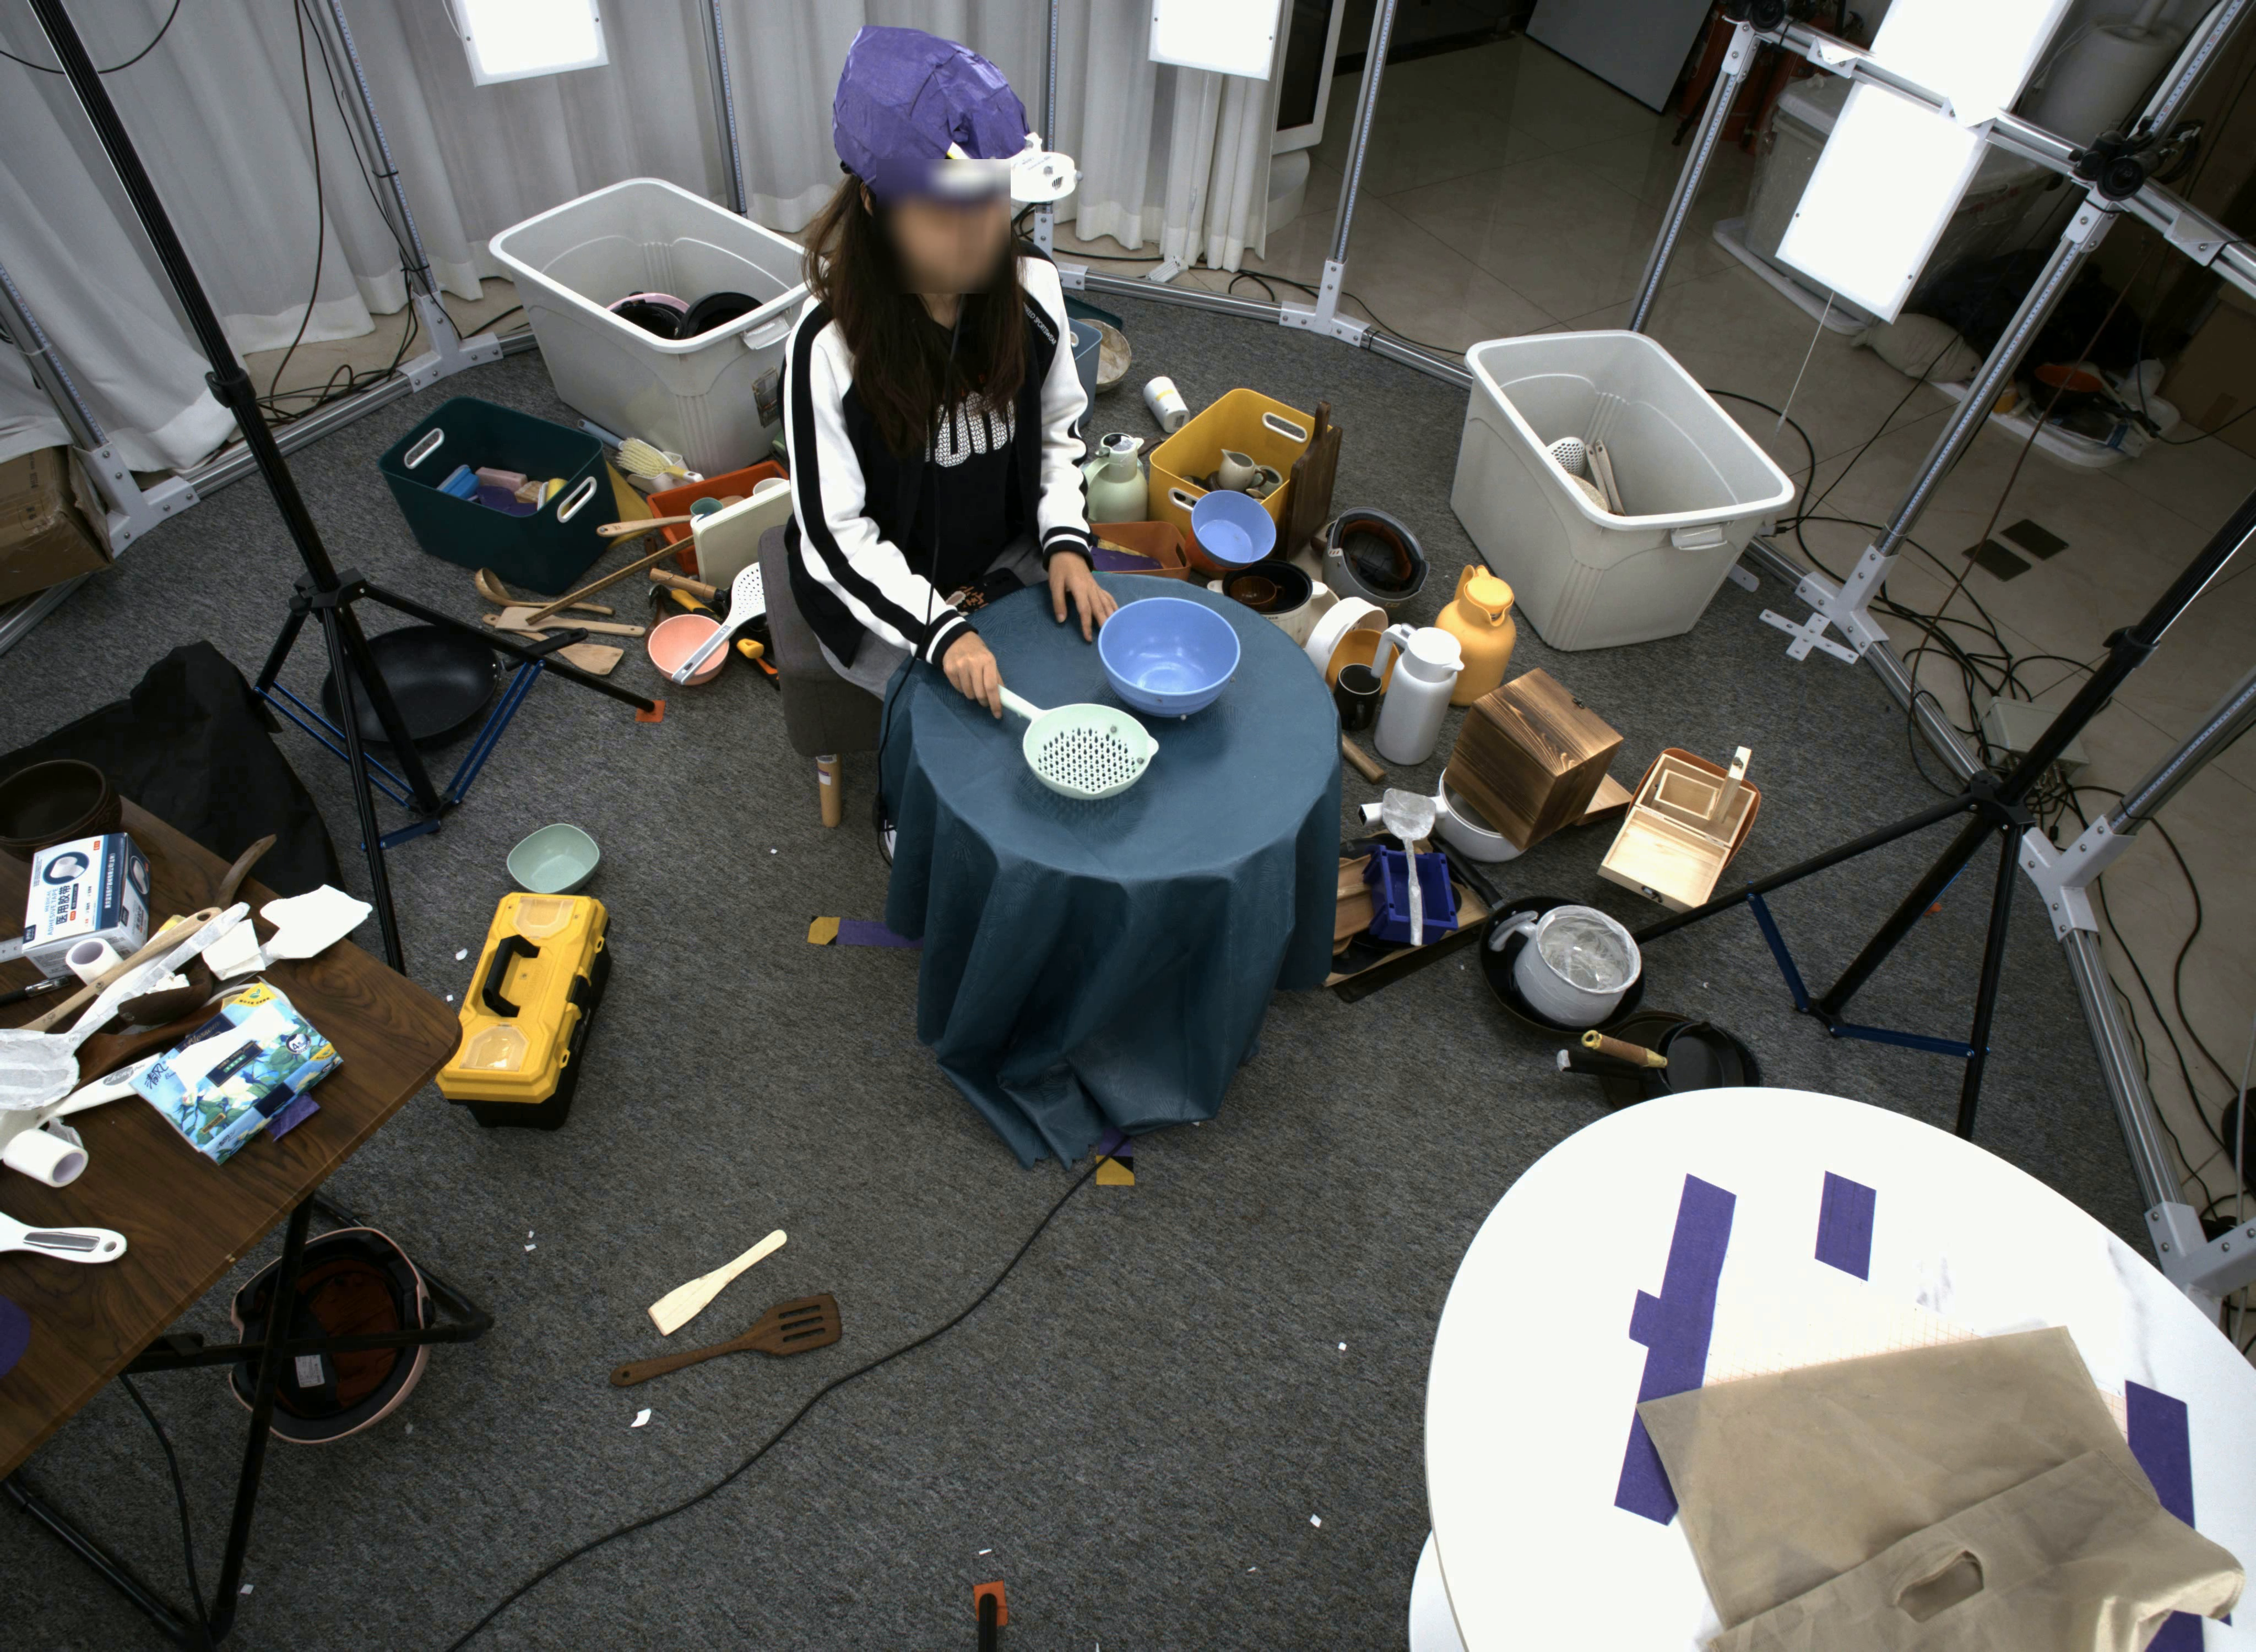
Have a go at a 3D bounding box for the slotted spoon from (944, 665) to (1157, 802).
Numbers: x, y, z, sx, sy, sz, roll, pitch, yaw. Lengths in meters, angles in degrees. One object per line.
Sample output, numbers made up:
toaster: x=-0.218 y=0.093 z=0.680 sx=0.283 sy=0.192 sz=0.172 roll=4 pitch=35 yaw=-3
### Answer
slotted spoon: x=-0.127 y=-0.143 z=1.741 sx=0.364 sy=0.073 sz=0.171 roll=38 pitch=55 yaw=23

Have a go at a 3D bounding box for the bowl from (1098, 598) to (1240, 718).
bowl: x=0.054 y=-0.220 z=1.803 sx=0.196 sy=0.093 sz=0.201 roll=2 pitch=50 yaw=-2
